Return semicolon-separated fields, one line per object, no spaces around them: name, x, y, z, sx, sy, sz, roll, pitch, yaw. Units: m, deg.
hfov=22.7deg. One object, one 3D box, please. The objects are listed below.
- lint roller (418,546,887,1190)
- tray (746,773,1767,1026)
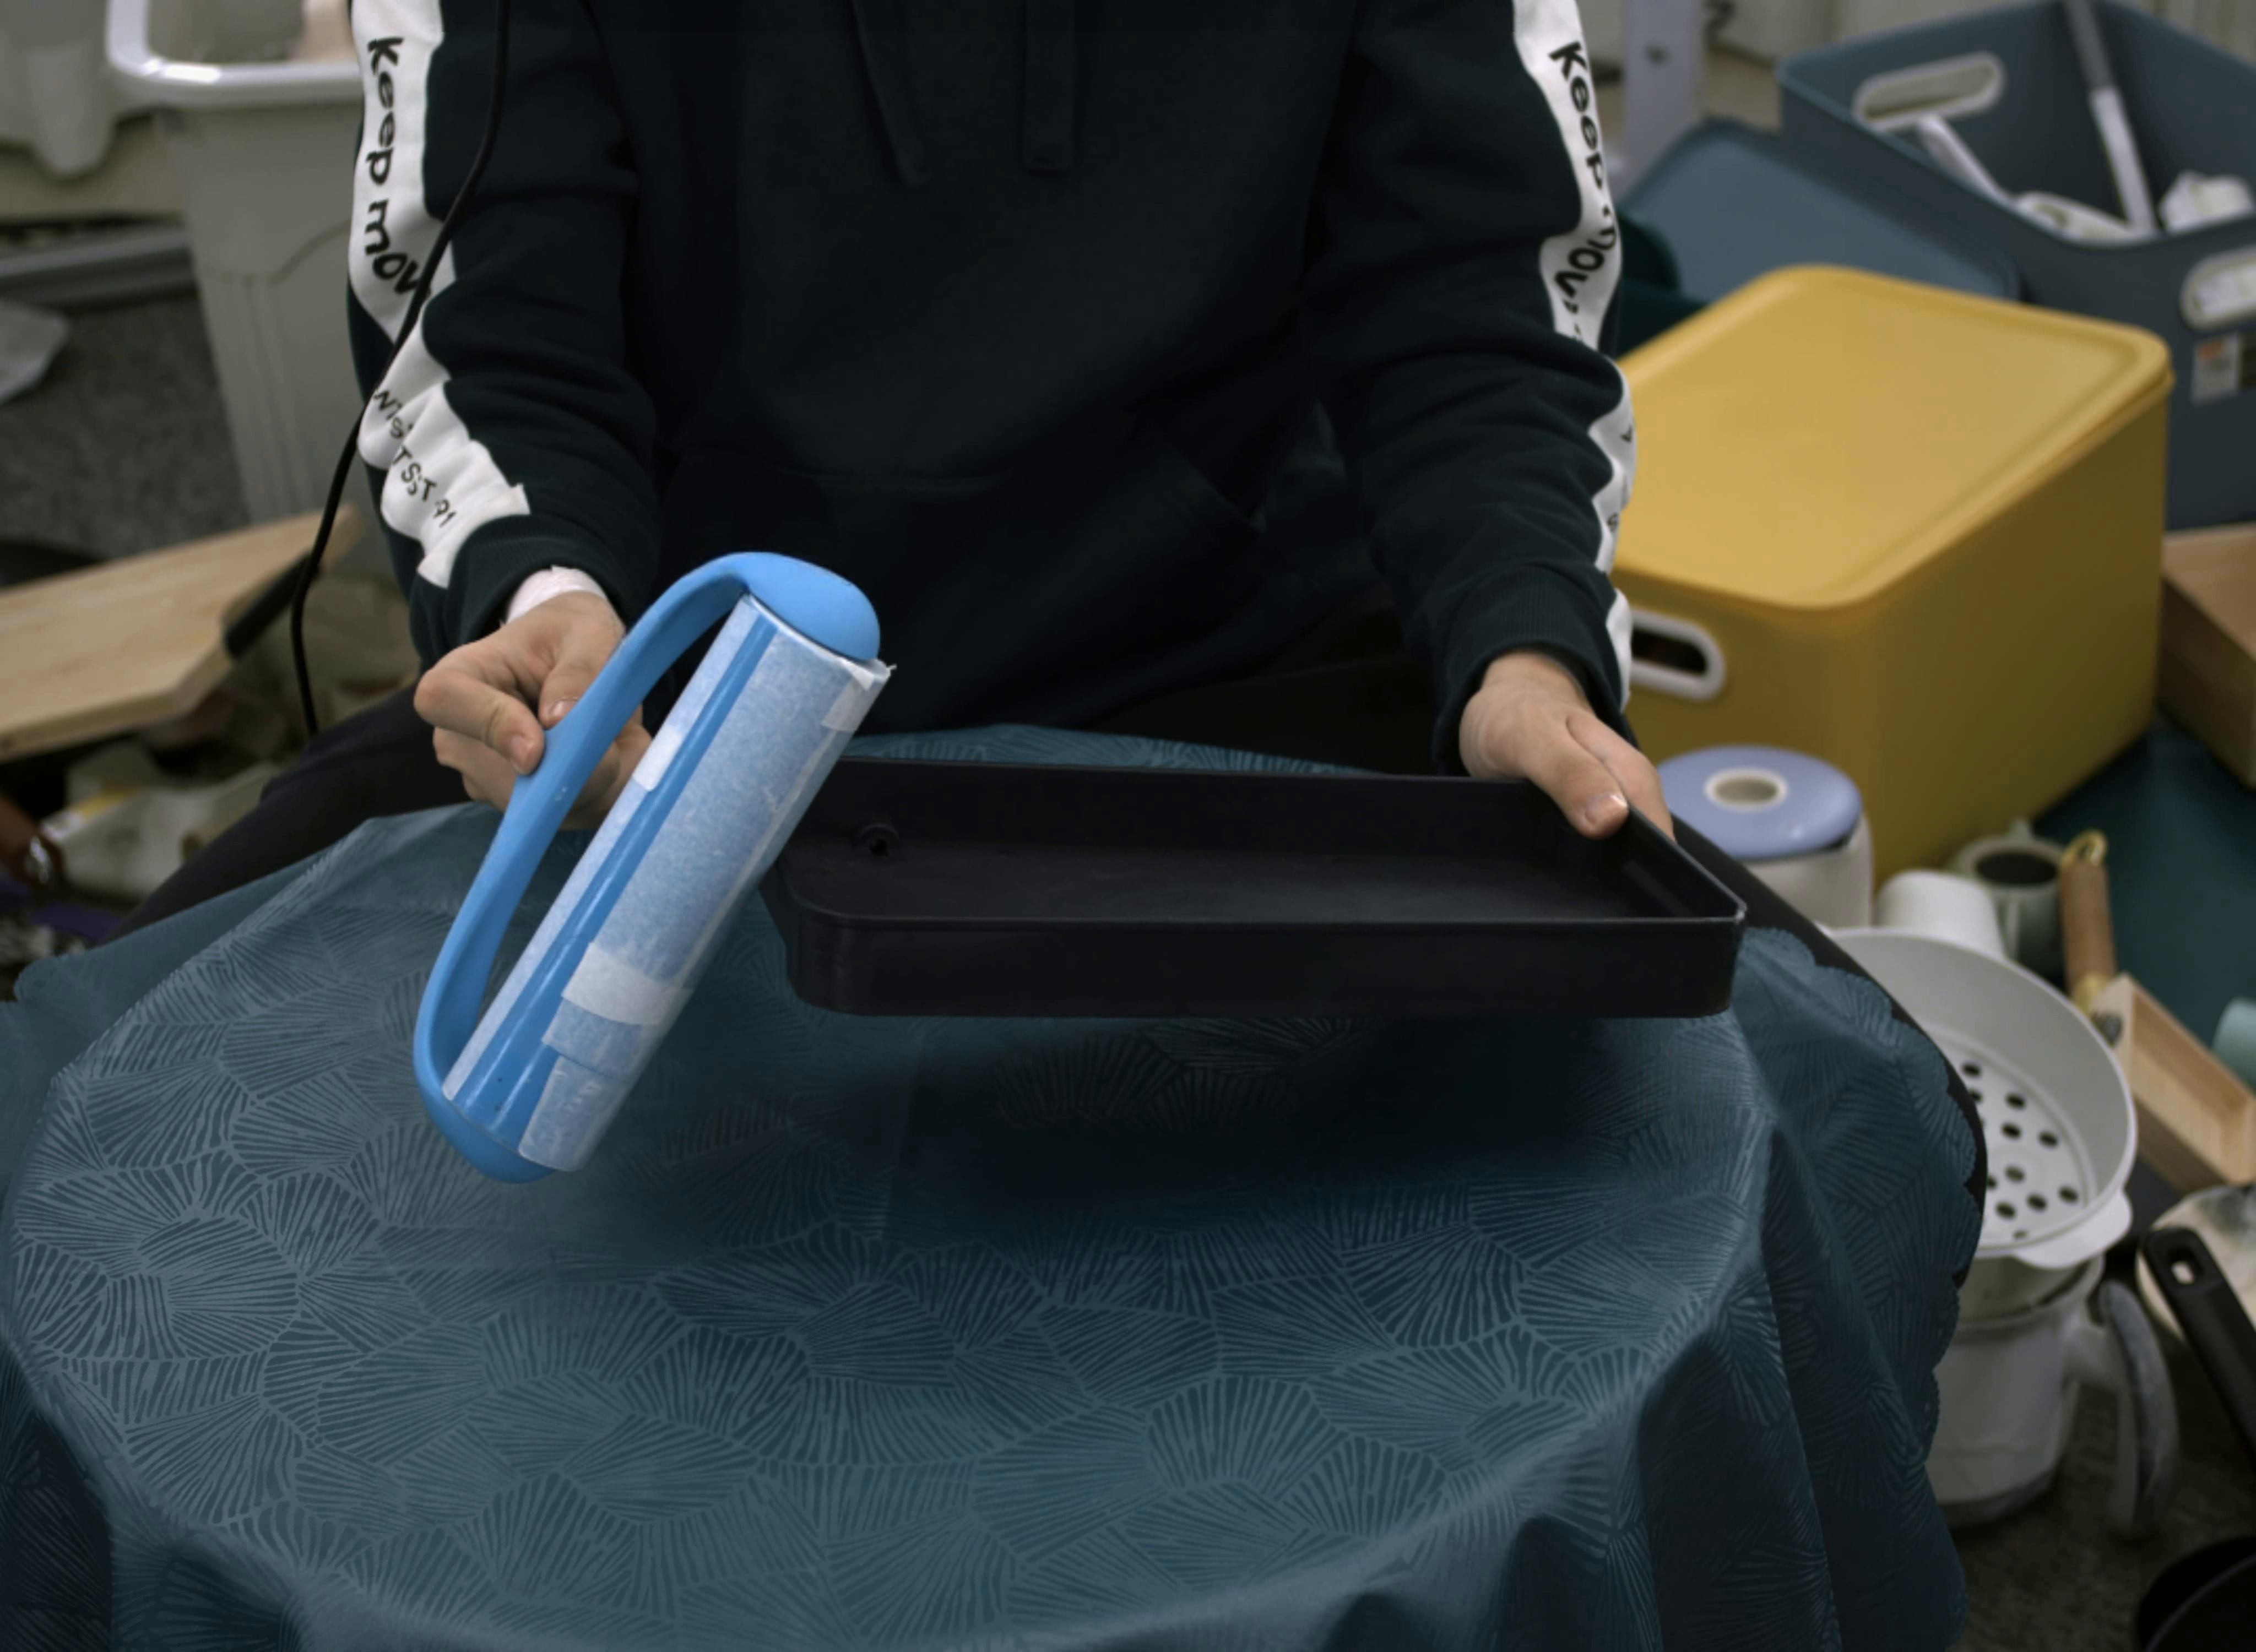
lint roller;-0.170;-0.005;1.851;0.067;0.228;0.181;25;8;-30
tray;0.038;0.022;1.874;0.317;0.037;0.185;0;15;-14
